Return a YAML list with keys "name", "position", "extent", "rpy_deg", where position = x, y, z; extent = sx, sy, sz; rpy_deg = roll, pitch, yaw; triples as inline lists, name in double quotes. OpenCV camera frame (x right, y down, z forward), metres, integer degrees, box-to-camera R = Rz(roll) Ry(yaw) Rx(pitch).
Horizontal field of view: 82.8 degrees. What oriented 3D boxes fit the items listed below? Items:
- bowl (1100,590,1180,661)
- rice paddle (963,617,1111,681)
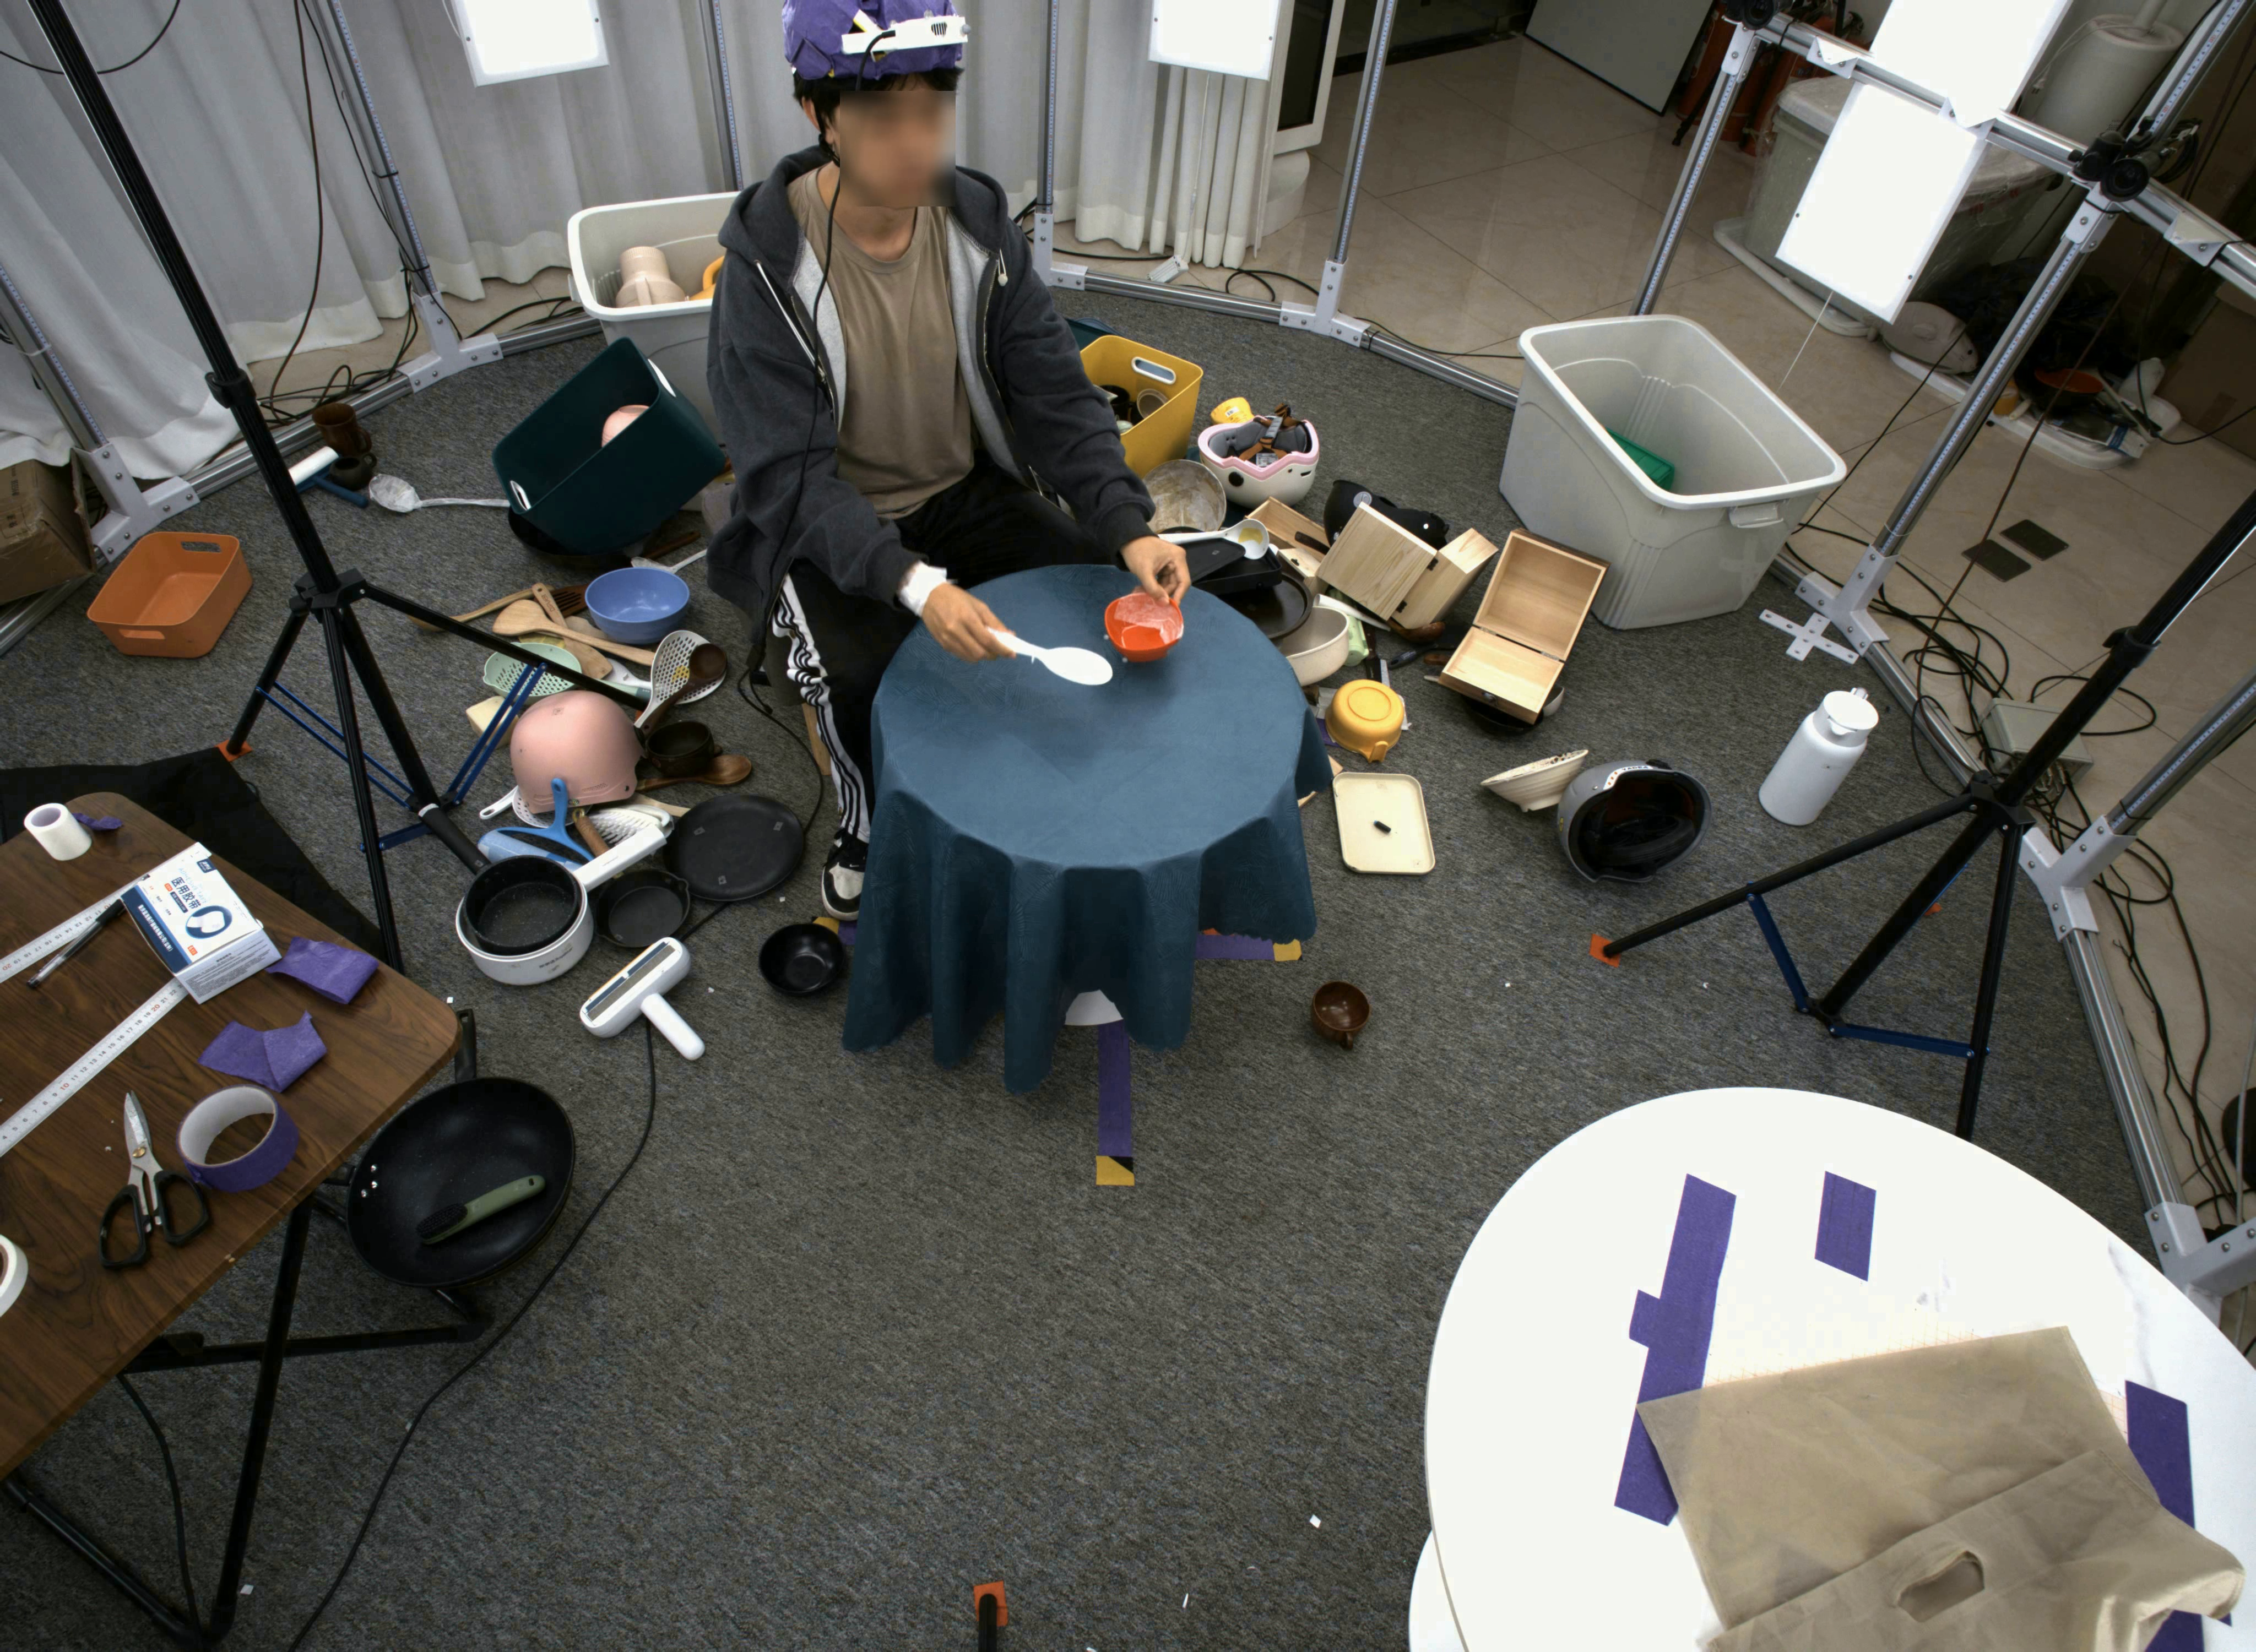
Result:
- name: "bowl"
  position: [0.018, -0.280, 1.837]
  extent: [0.119, 0.050, 0.122]
  rpy_deg: [-2, 54, 3]
- name: "rice paddle"
  position: [-0.120, -0.239, 1.730]
  extent: [0.205, 0.029, 0.070]
  rpy_deg: [17, 45, 3]
